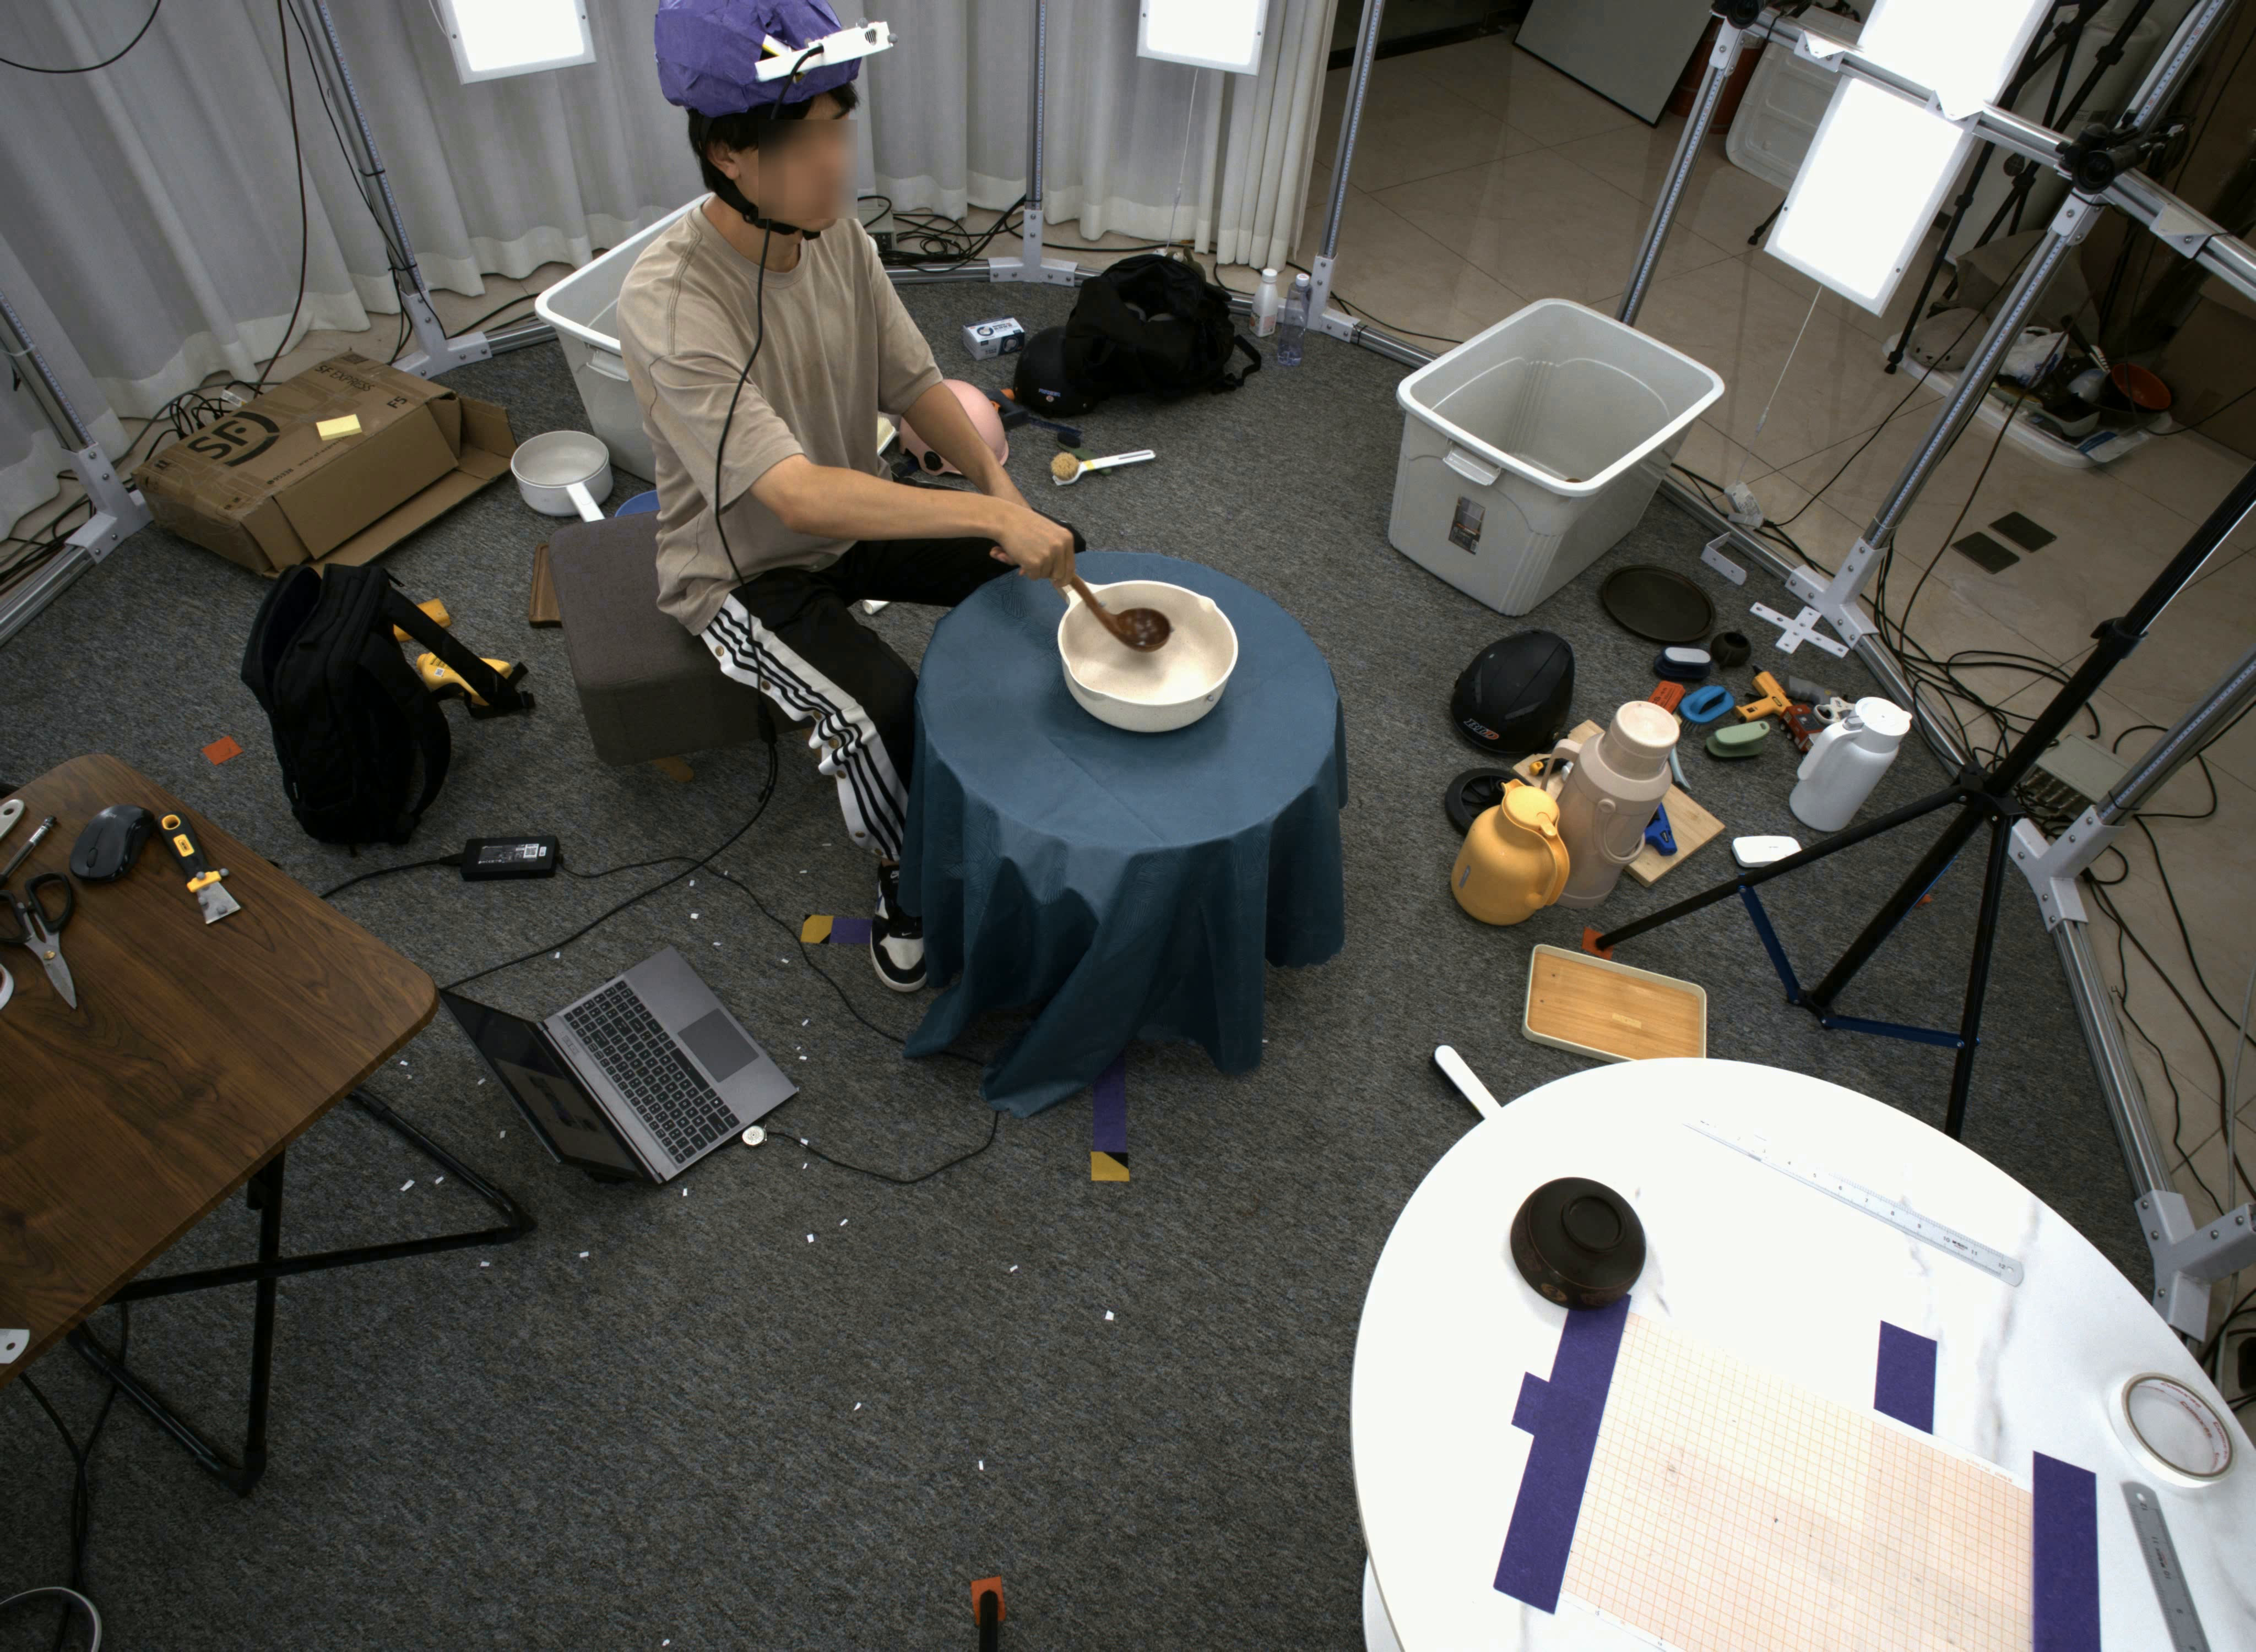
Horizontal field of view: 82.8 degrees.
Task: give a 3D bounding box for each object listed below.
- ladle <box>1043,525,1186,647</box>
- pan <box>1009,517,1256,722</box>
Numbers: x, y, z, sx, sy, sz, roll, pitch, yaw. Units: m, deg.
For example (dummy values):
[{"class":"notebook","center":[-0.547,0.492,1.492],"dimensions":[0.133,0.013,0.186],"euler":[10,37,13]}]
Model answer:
[{"class":"ladle","center":[-0.011,-0.335,1.760],"dimensions":[0.076,0.268,0.084],"euler":[-32,49,13]},{"class":"pan","center":[-0.015,-0.304,1.853],"dimensions":[0.441,0.099,0.266],"euler":[38,57,26]}]
